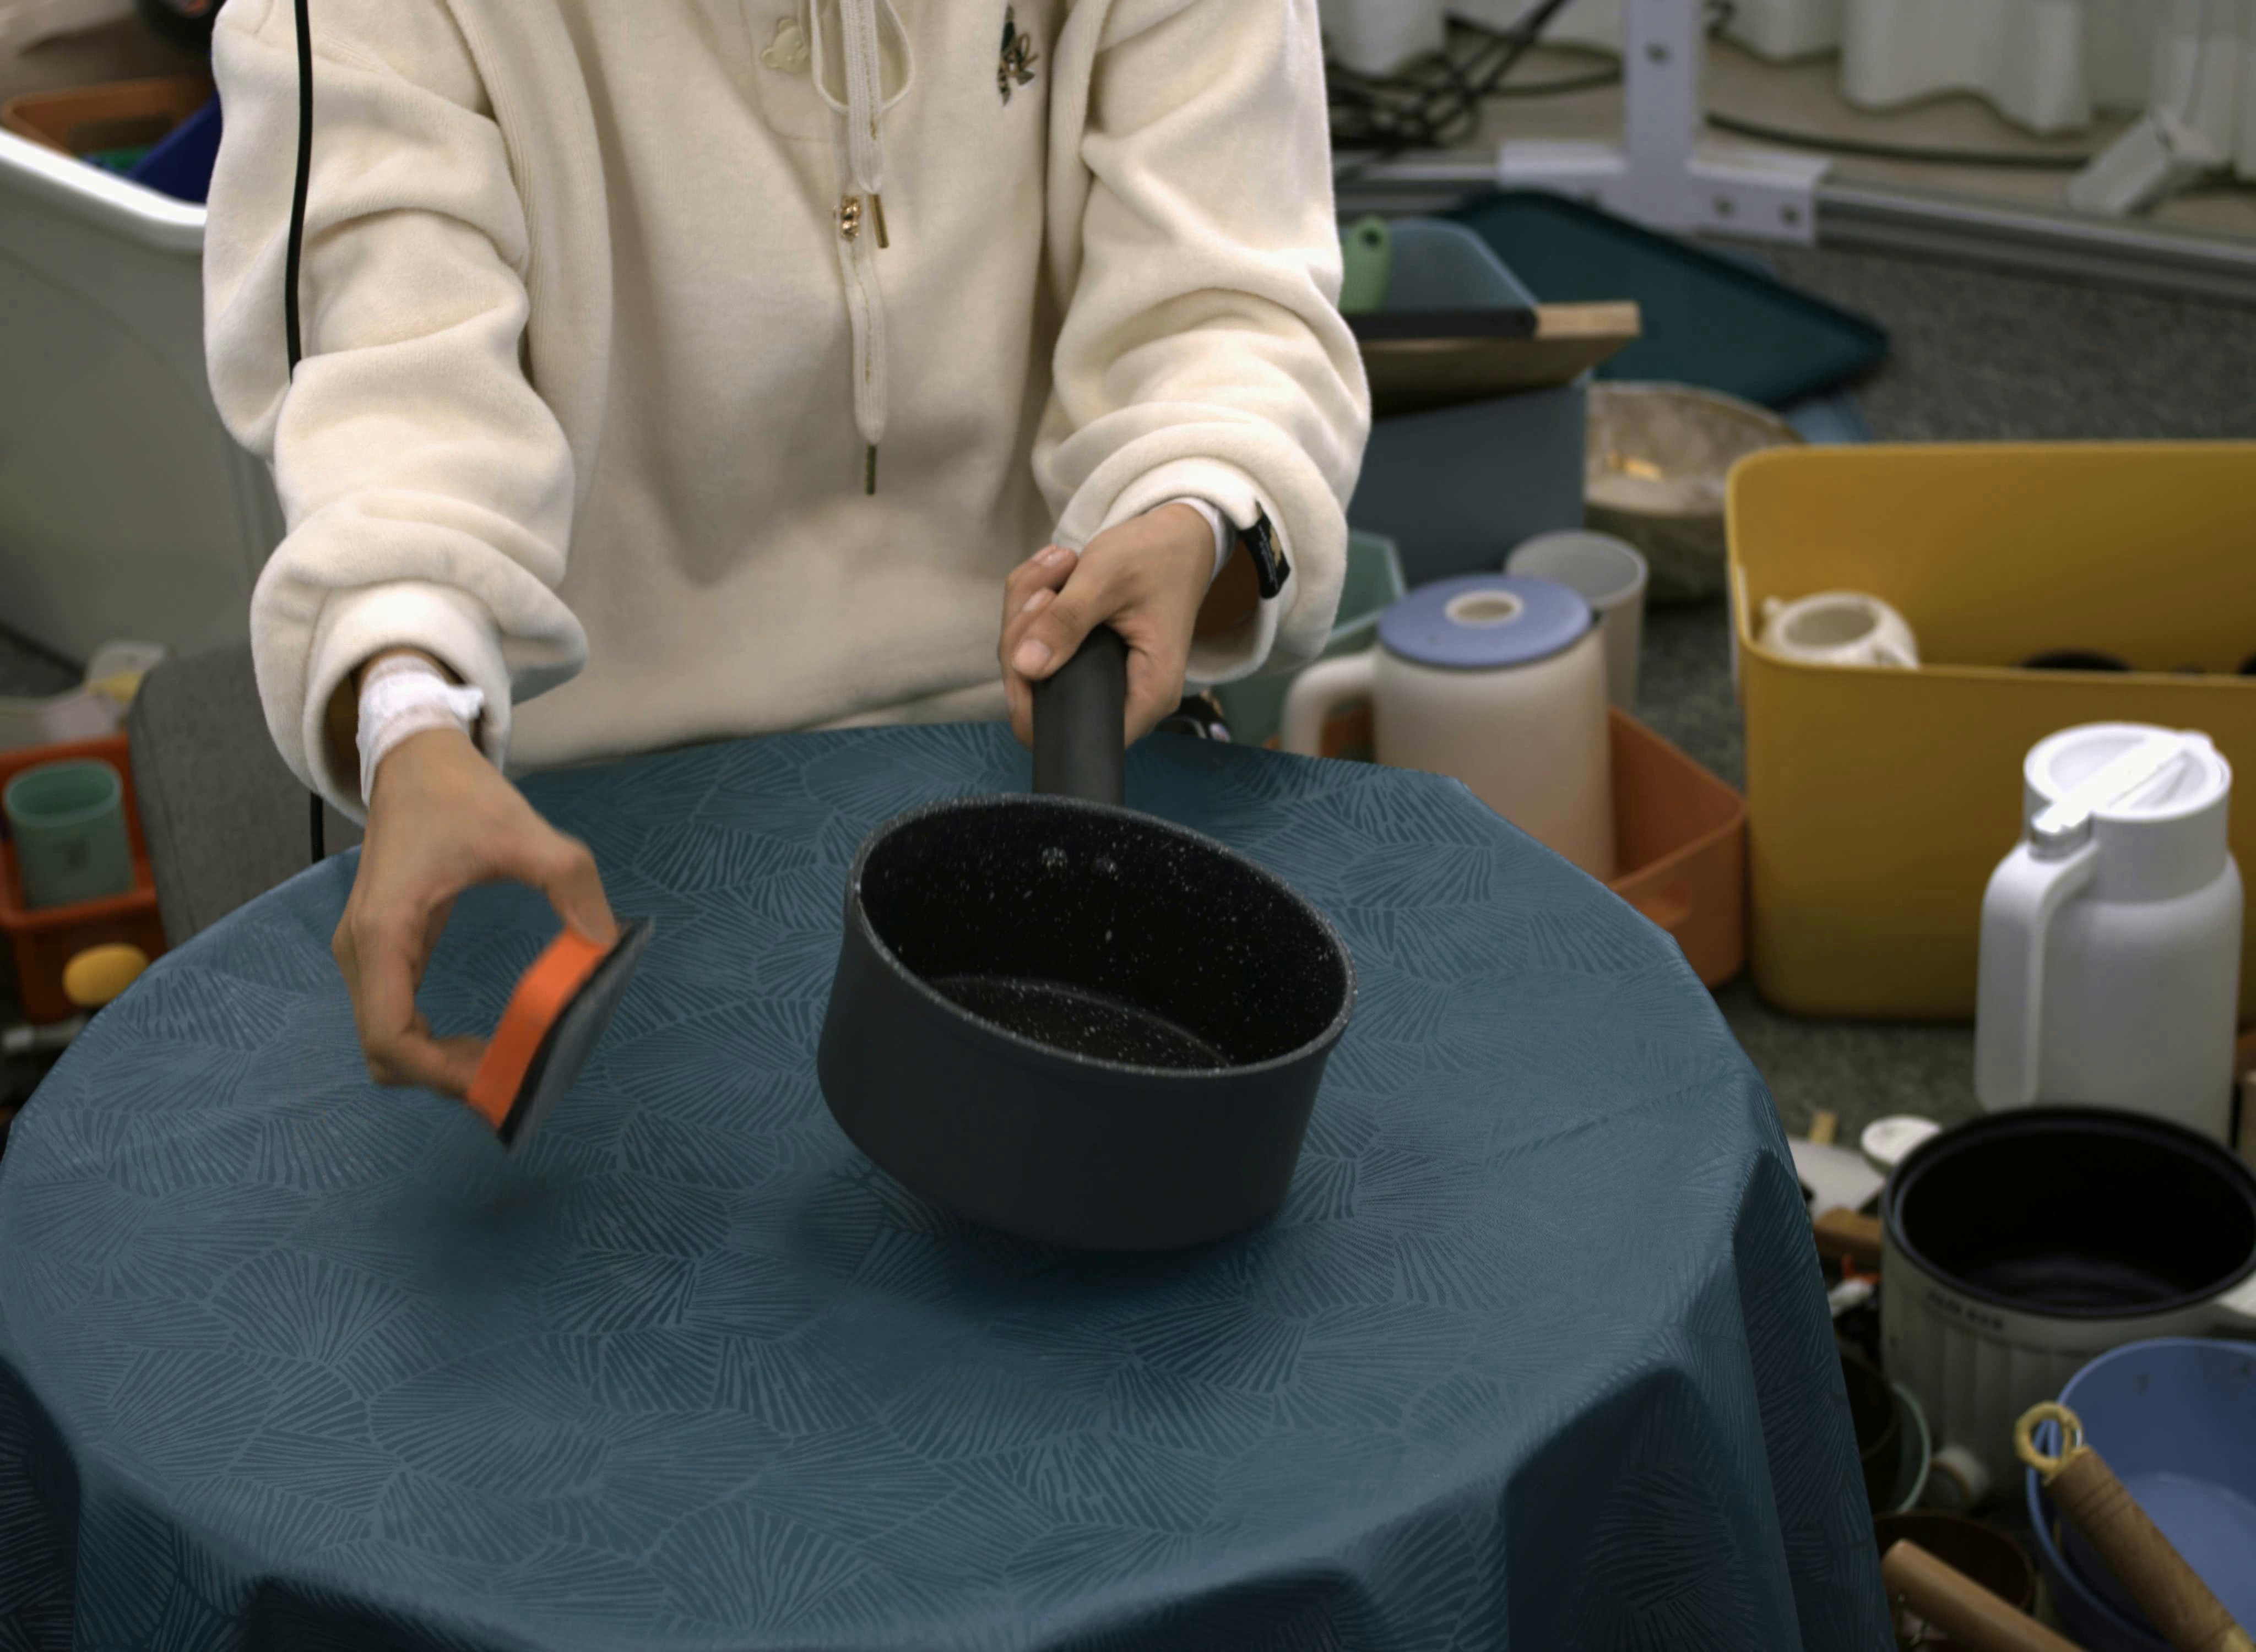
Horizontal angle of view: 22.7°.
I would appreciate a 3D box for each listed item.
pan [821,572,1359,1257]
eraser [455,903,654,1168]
[{"bbox_3d":[-0.016,0.025,1.908,0.171,0.085,0.334,12,29,-6],"label":"pan"},{"bbox_3d":[-0.186,0.068,1.829,0.023,0.058,0.109,28,19,0],"label":"eraser"}]
